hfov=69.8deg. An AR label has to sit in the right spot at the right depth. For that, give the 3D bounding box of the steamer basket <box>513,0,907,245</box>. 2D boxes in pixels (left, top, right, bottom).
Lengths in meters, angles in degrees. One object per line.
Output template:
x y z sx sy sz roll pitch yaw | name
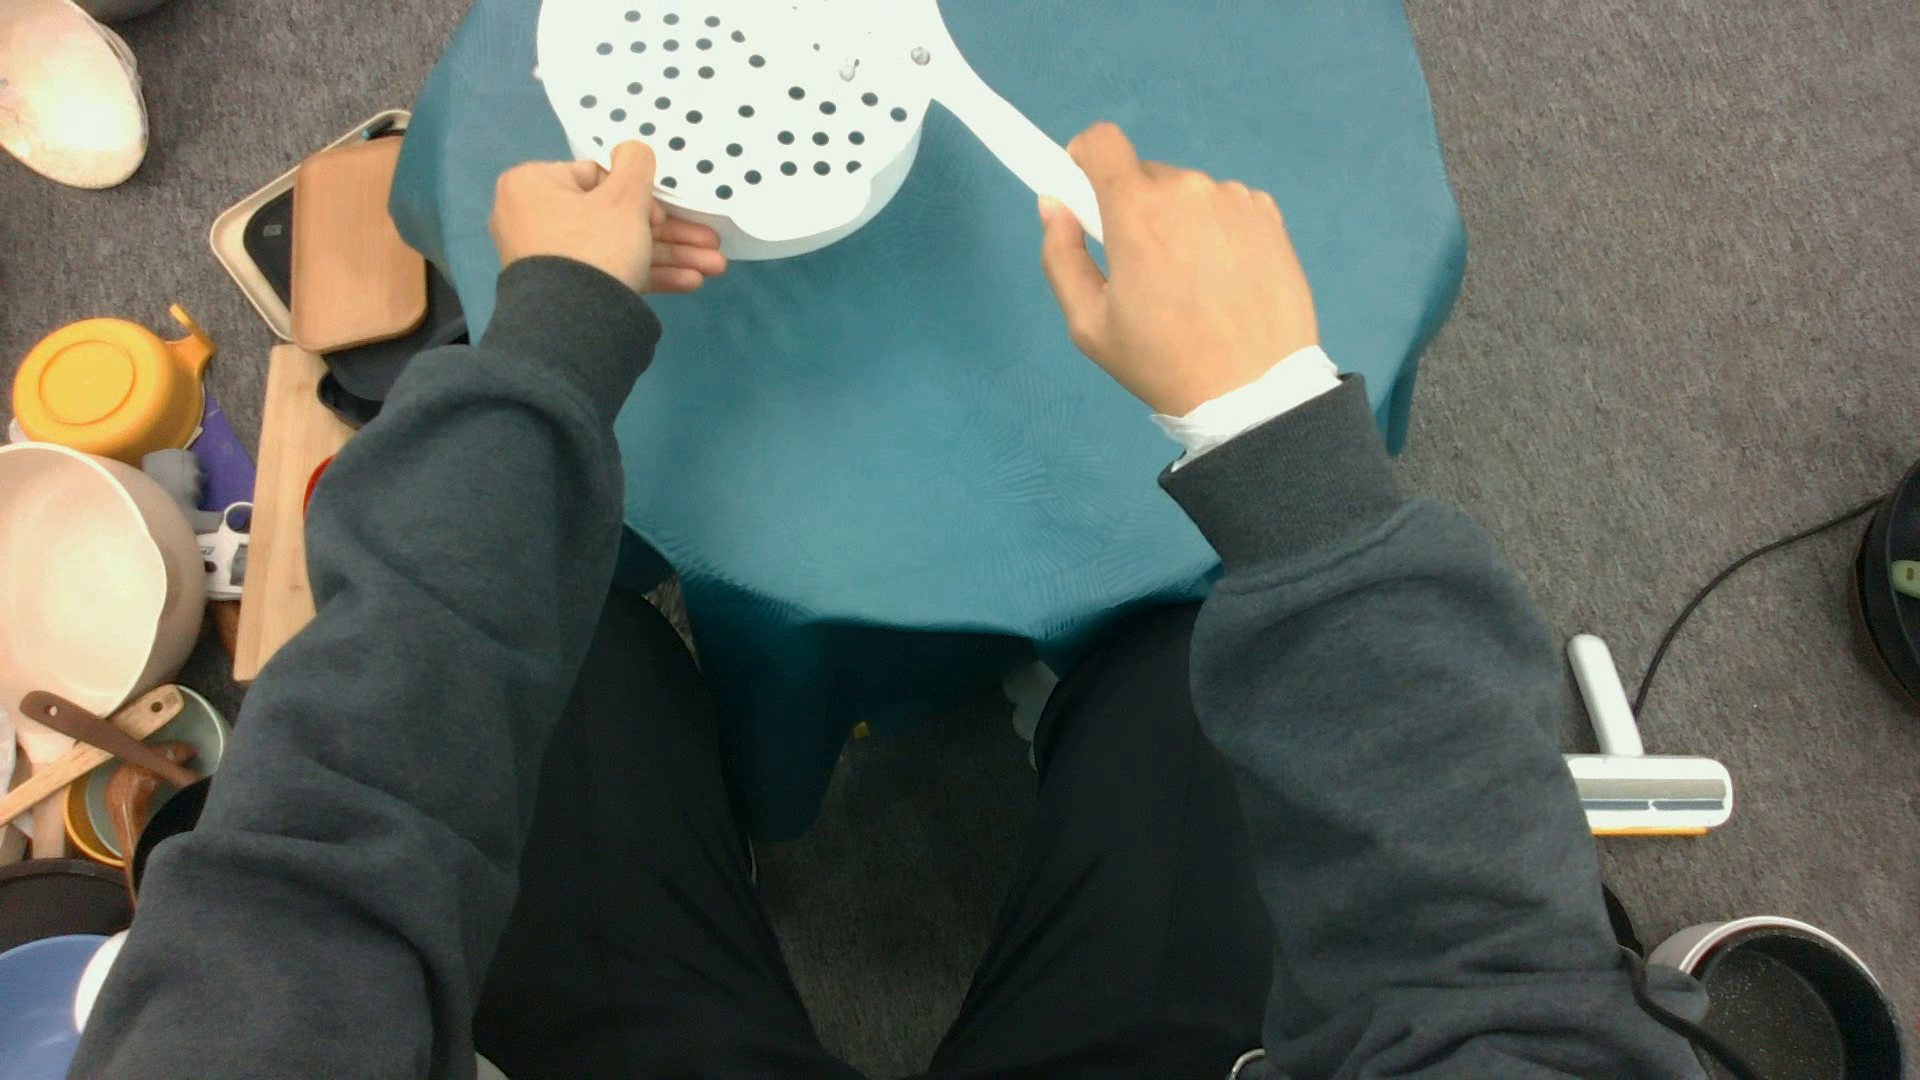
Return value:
-0.129 -0.253 0.735 0.202 0.069 0.231 -19 72 -13 | steamer basket

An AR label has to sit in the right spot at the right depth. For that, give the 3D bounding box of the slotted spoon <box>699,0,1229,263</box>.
-0.013 -0.222 0.602 0.050 0.136 0.348 -10 51 -41 | slotted spoon
